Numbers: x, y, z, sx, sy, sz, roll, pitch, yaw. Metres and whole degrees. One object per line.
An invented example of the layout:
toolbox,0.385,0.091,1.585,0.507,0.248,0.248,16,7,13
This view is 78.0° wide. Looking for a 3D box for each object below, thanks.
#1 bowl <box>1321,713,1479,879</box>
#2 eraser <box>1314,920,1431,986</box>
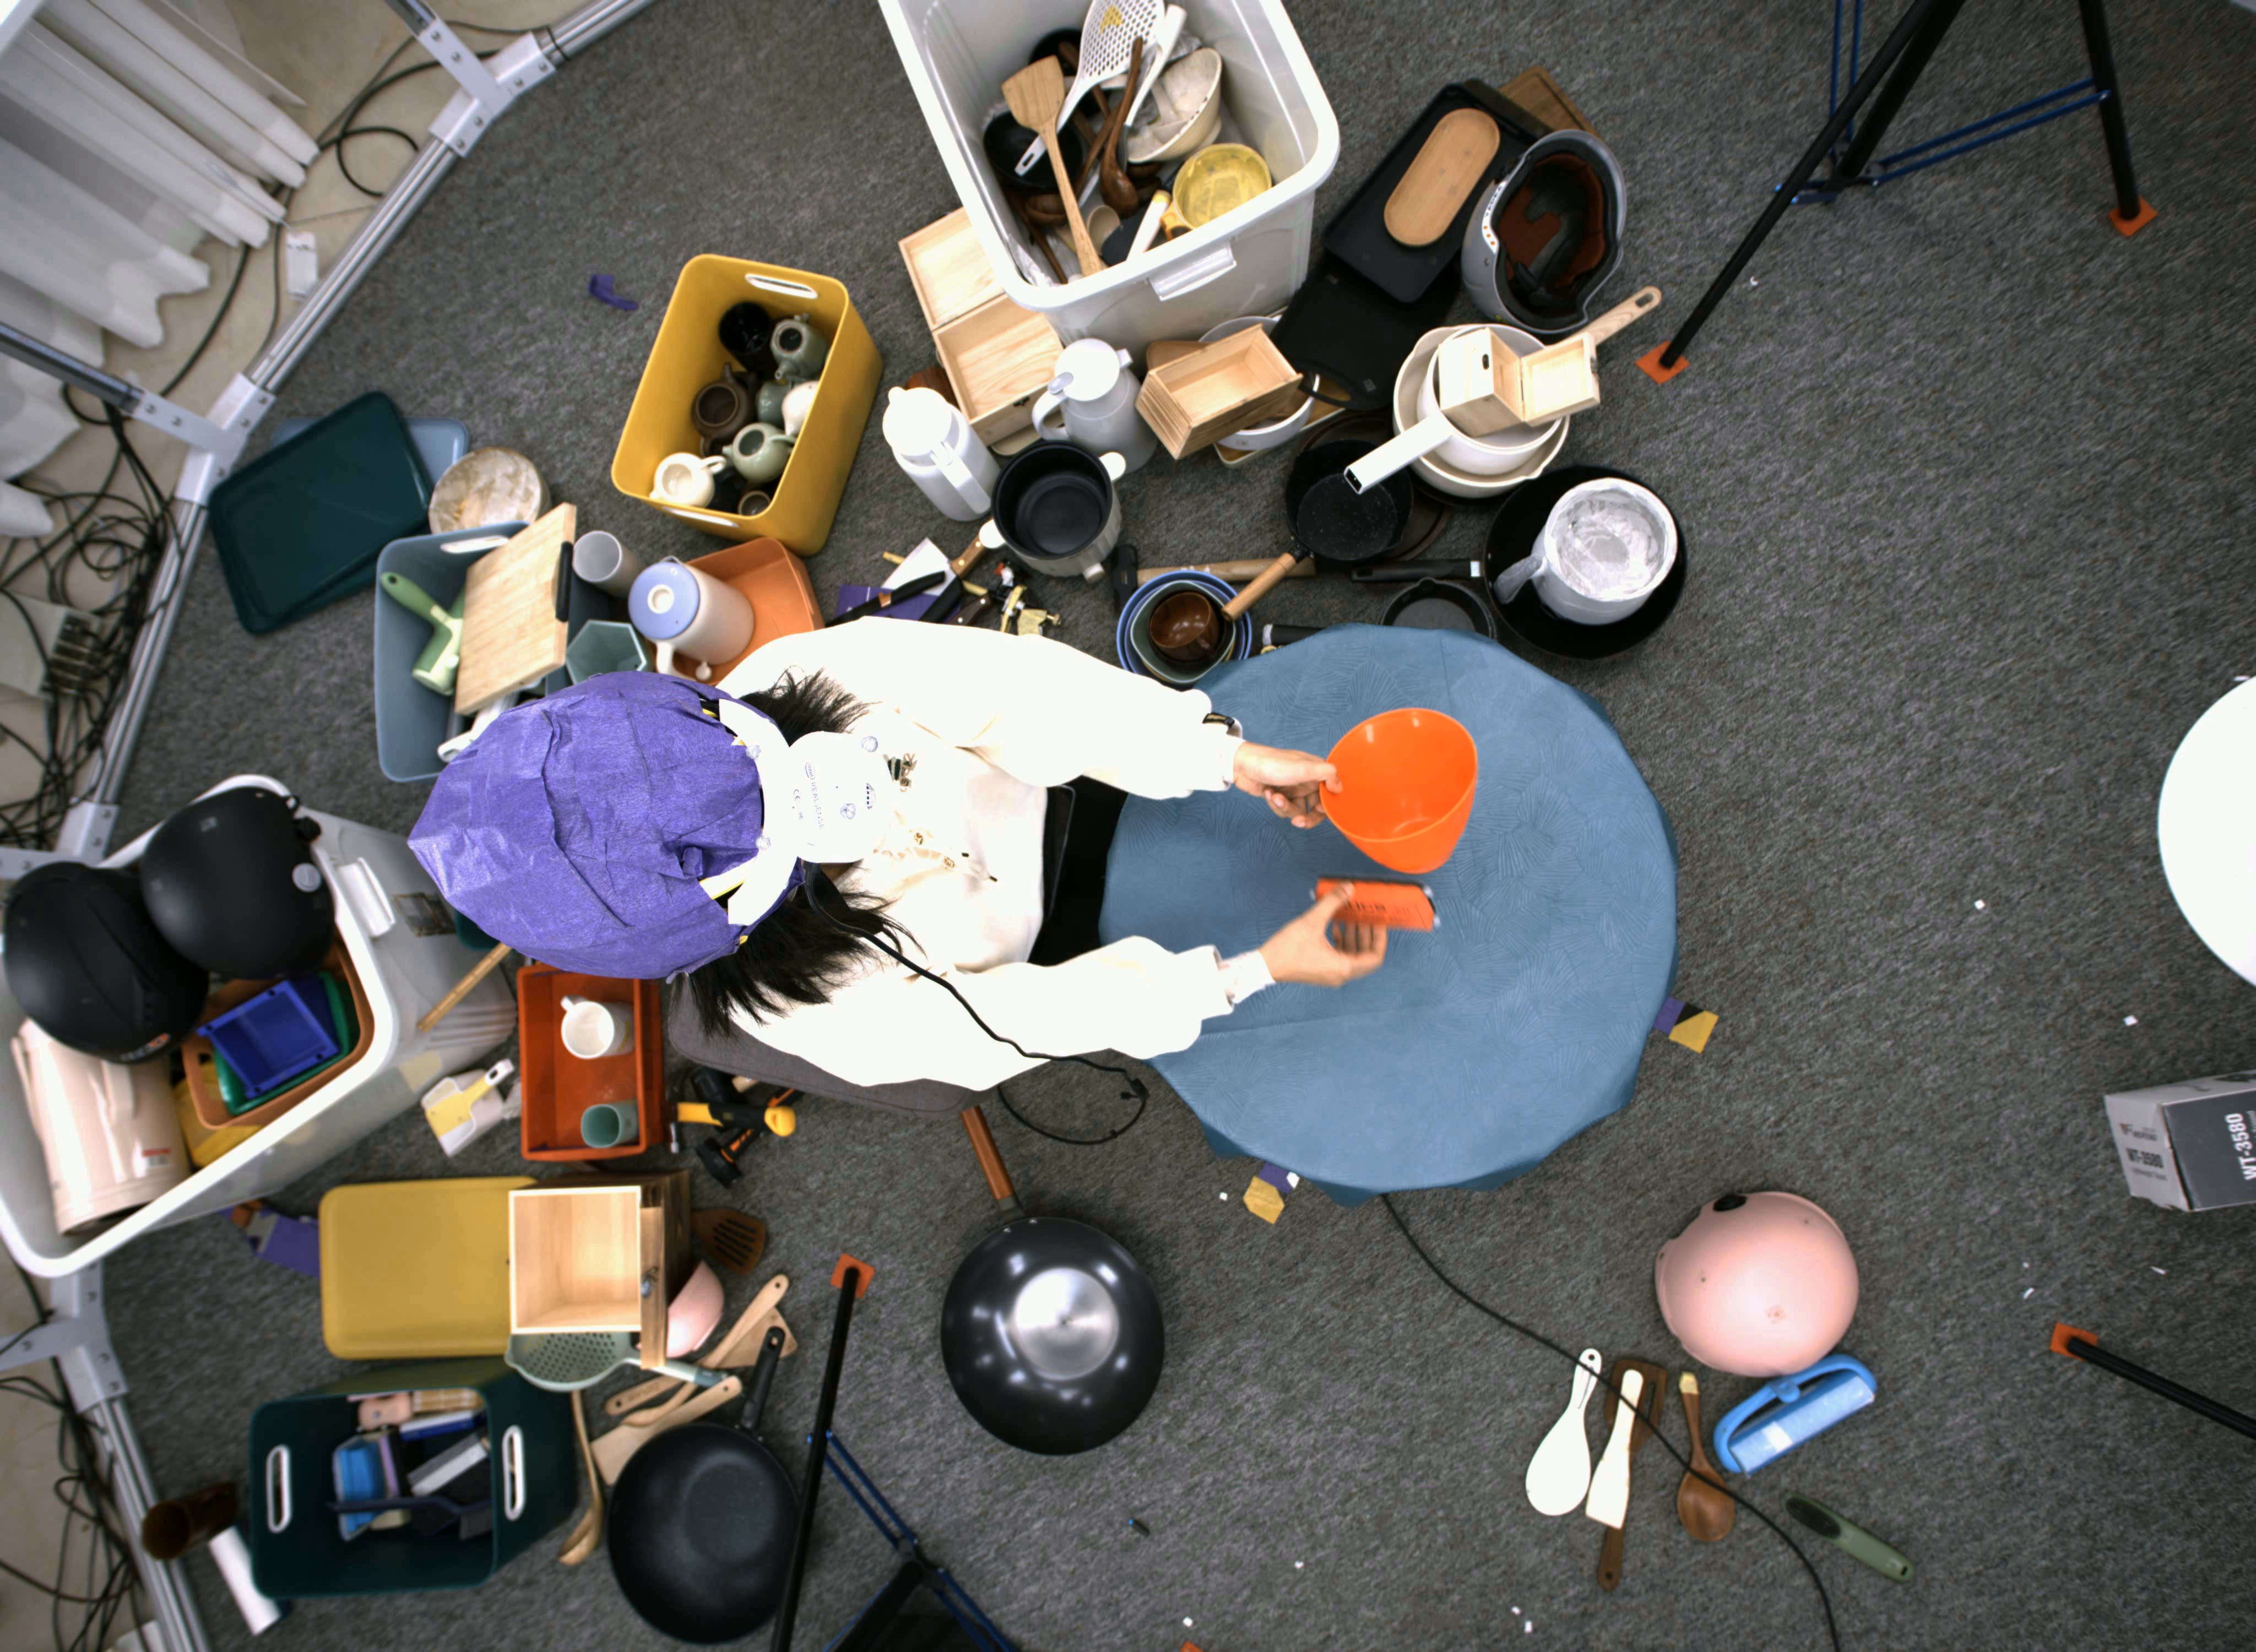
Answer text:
bowl,0.262,-0.019,1.288,0.149,0.106,0.144,-16,42,15
eraser,0.238,0.123,1.345,0.108,0.060,0.022,9,58,26
